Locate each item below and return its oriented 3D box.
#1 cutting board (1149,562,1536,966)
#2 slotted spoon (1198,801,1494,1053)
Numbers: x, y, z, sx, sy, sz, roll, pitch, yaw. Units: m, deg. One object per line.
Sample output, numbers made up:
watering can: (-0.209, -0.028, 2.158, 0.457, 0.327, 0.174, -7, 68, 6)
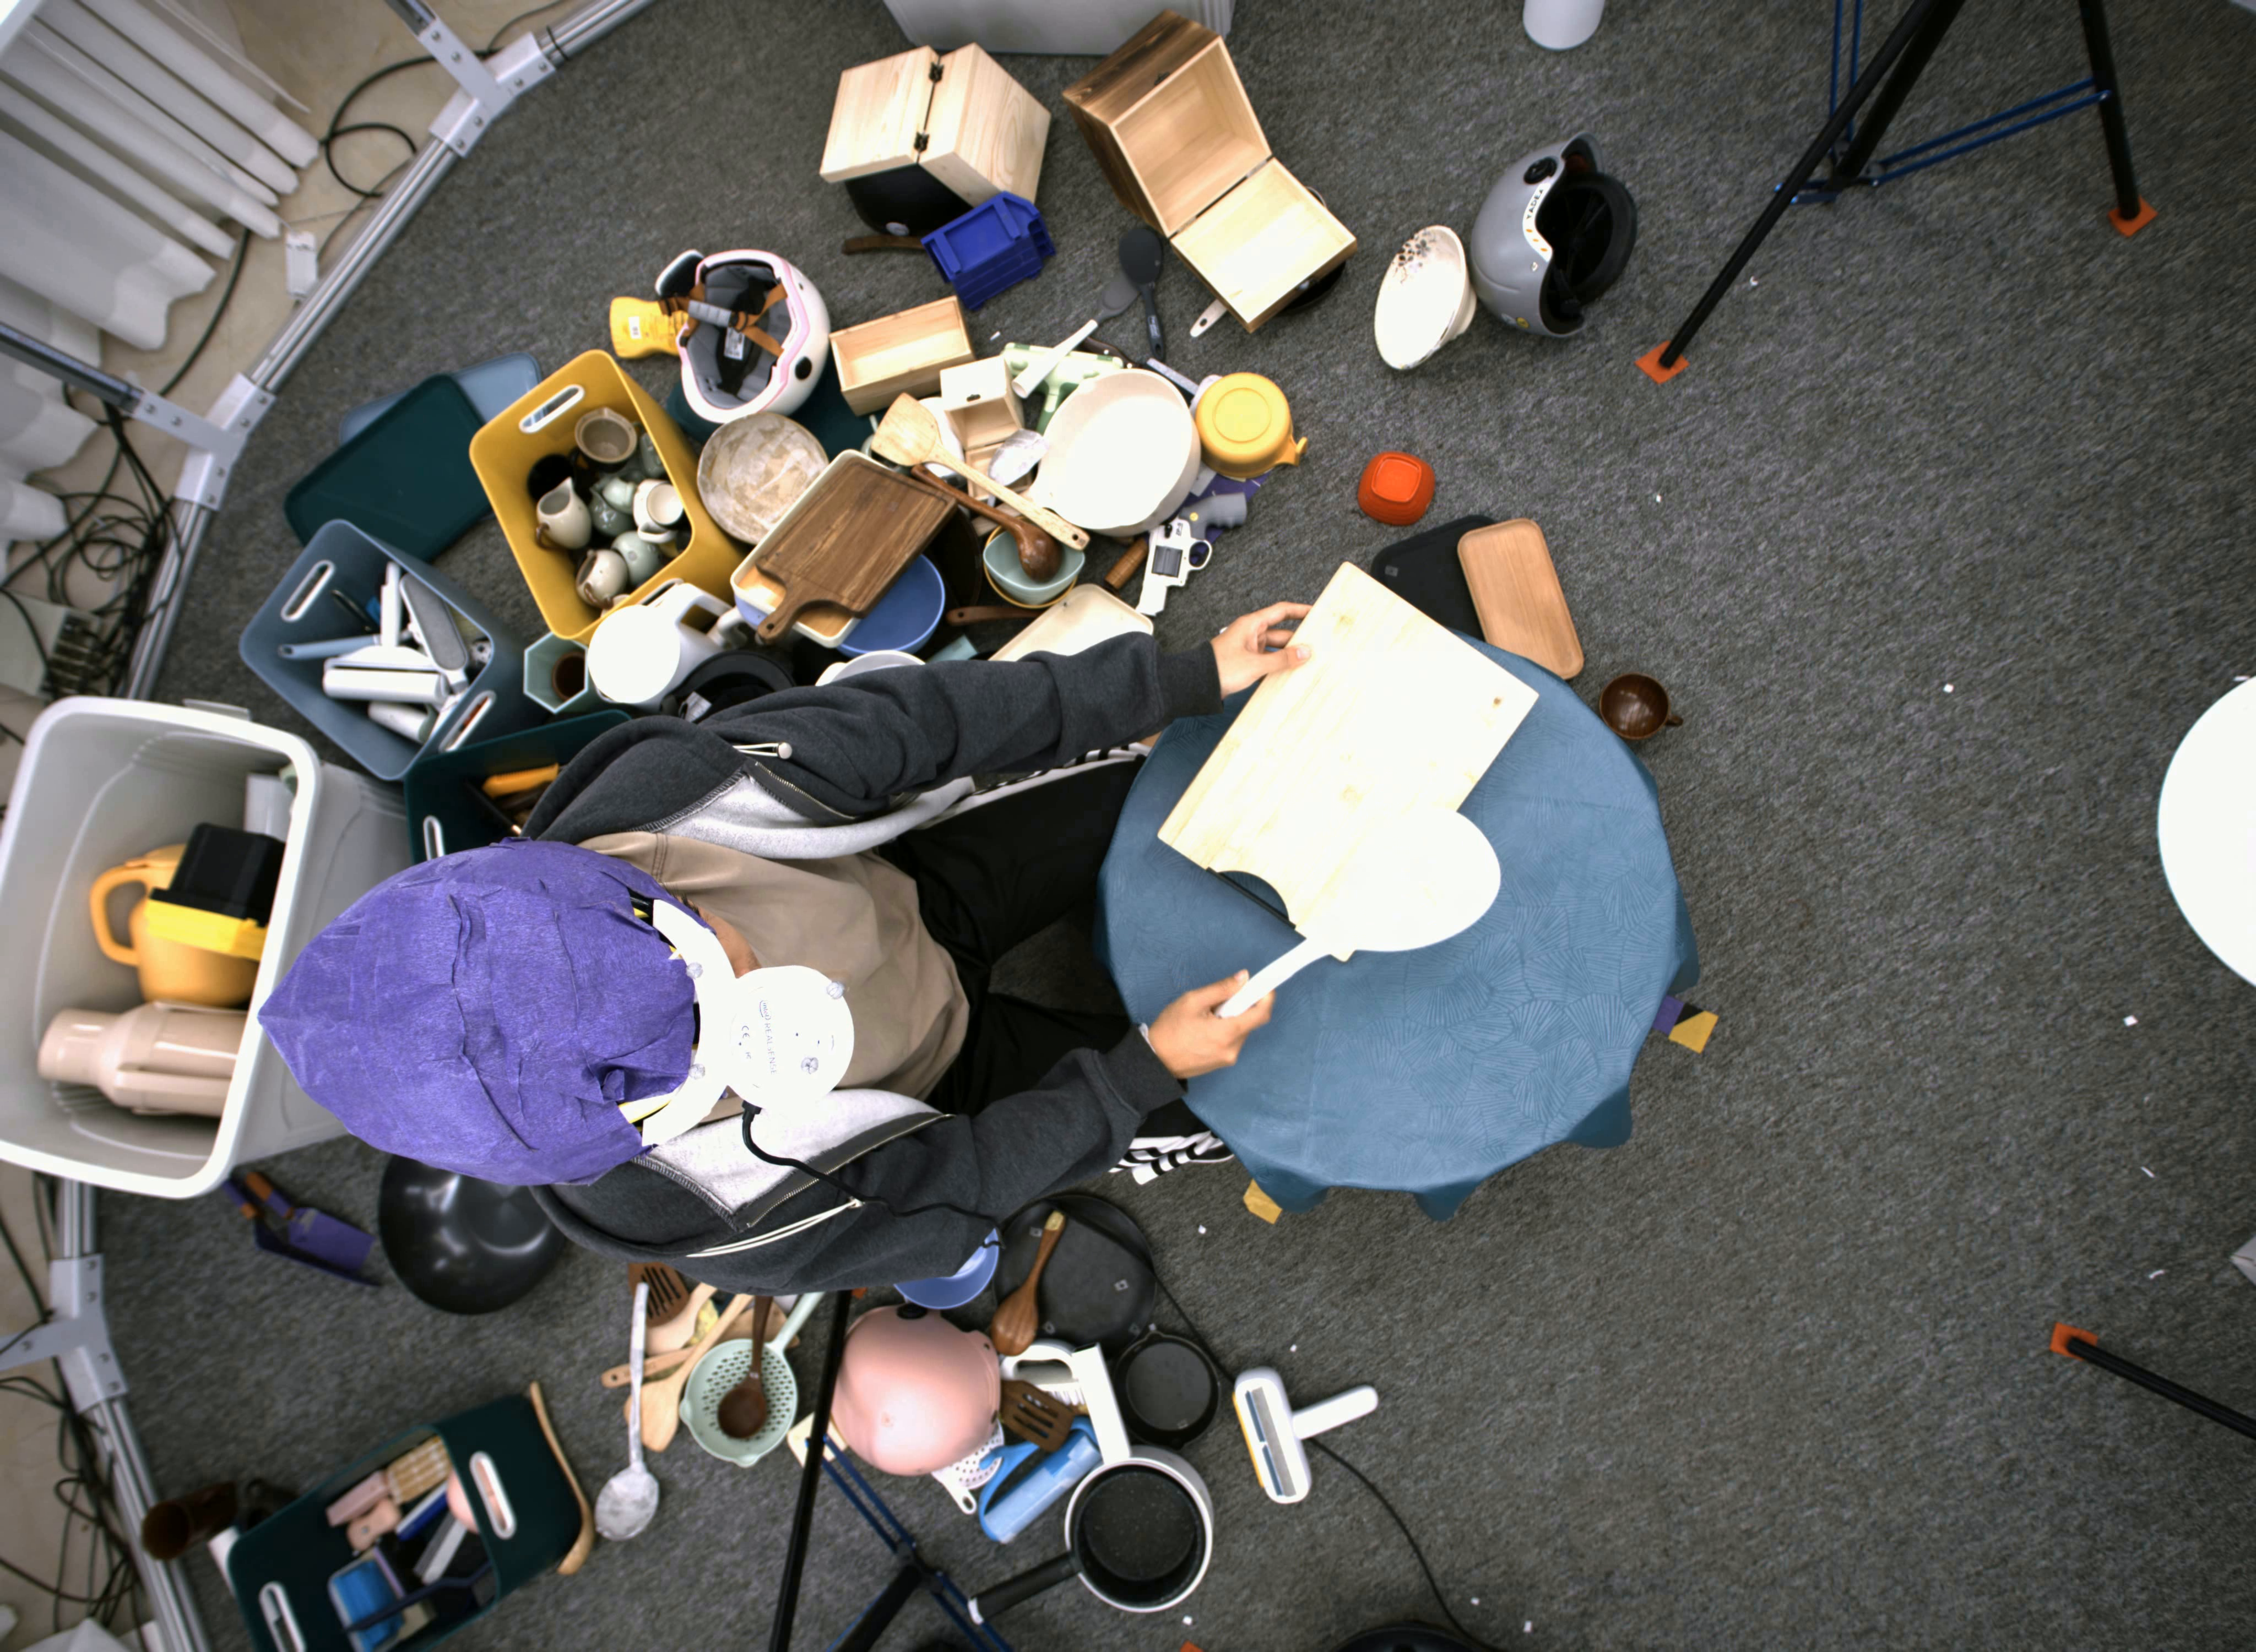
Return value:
cutting board: (0.219, -0.060, 1.413, 0.251, 0.023, 0.352, 33, 102, -4)
slotted spoon: (0.202, 0.108, 1.354, 0.350, 0.051, 0.134, -35, 53, 8)
